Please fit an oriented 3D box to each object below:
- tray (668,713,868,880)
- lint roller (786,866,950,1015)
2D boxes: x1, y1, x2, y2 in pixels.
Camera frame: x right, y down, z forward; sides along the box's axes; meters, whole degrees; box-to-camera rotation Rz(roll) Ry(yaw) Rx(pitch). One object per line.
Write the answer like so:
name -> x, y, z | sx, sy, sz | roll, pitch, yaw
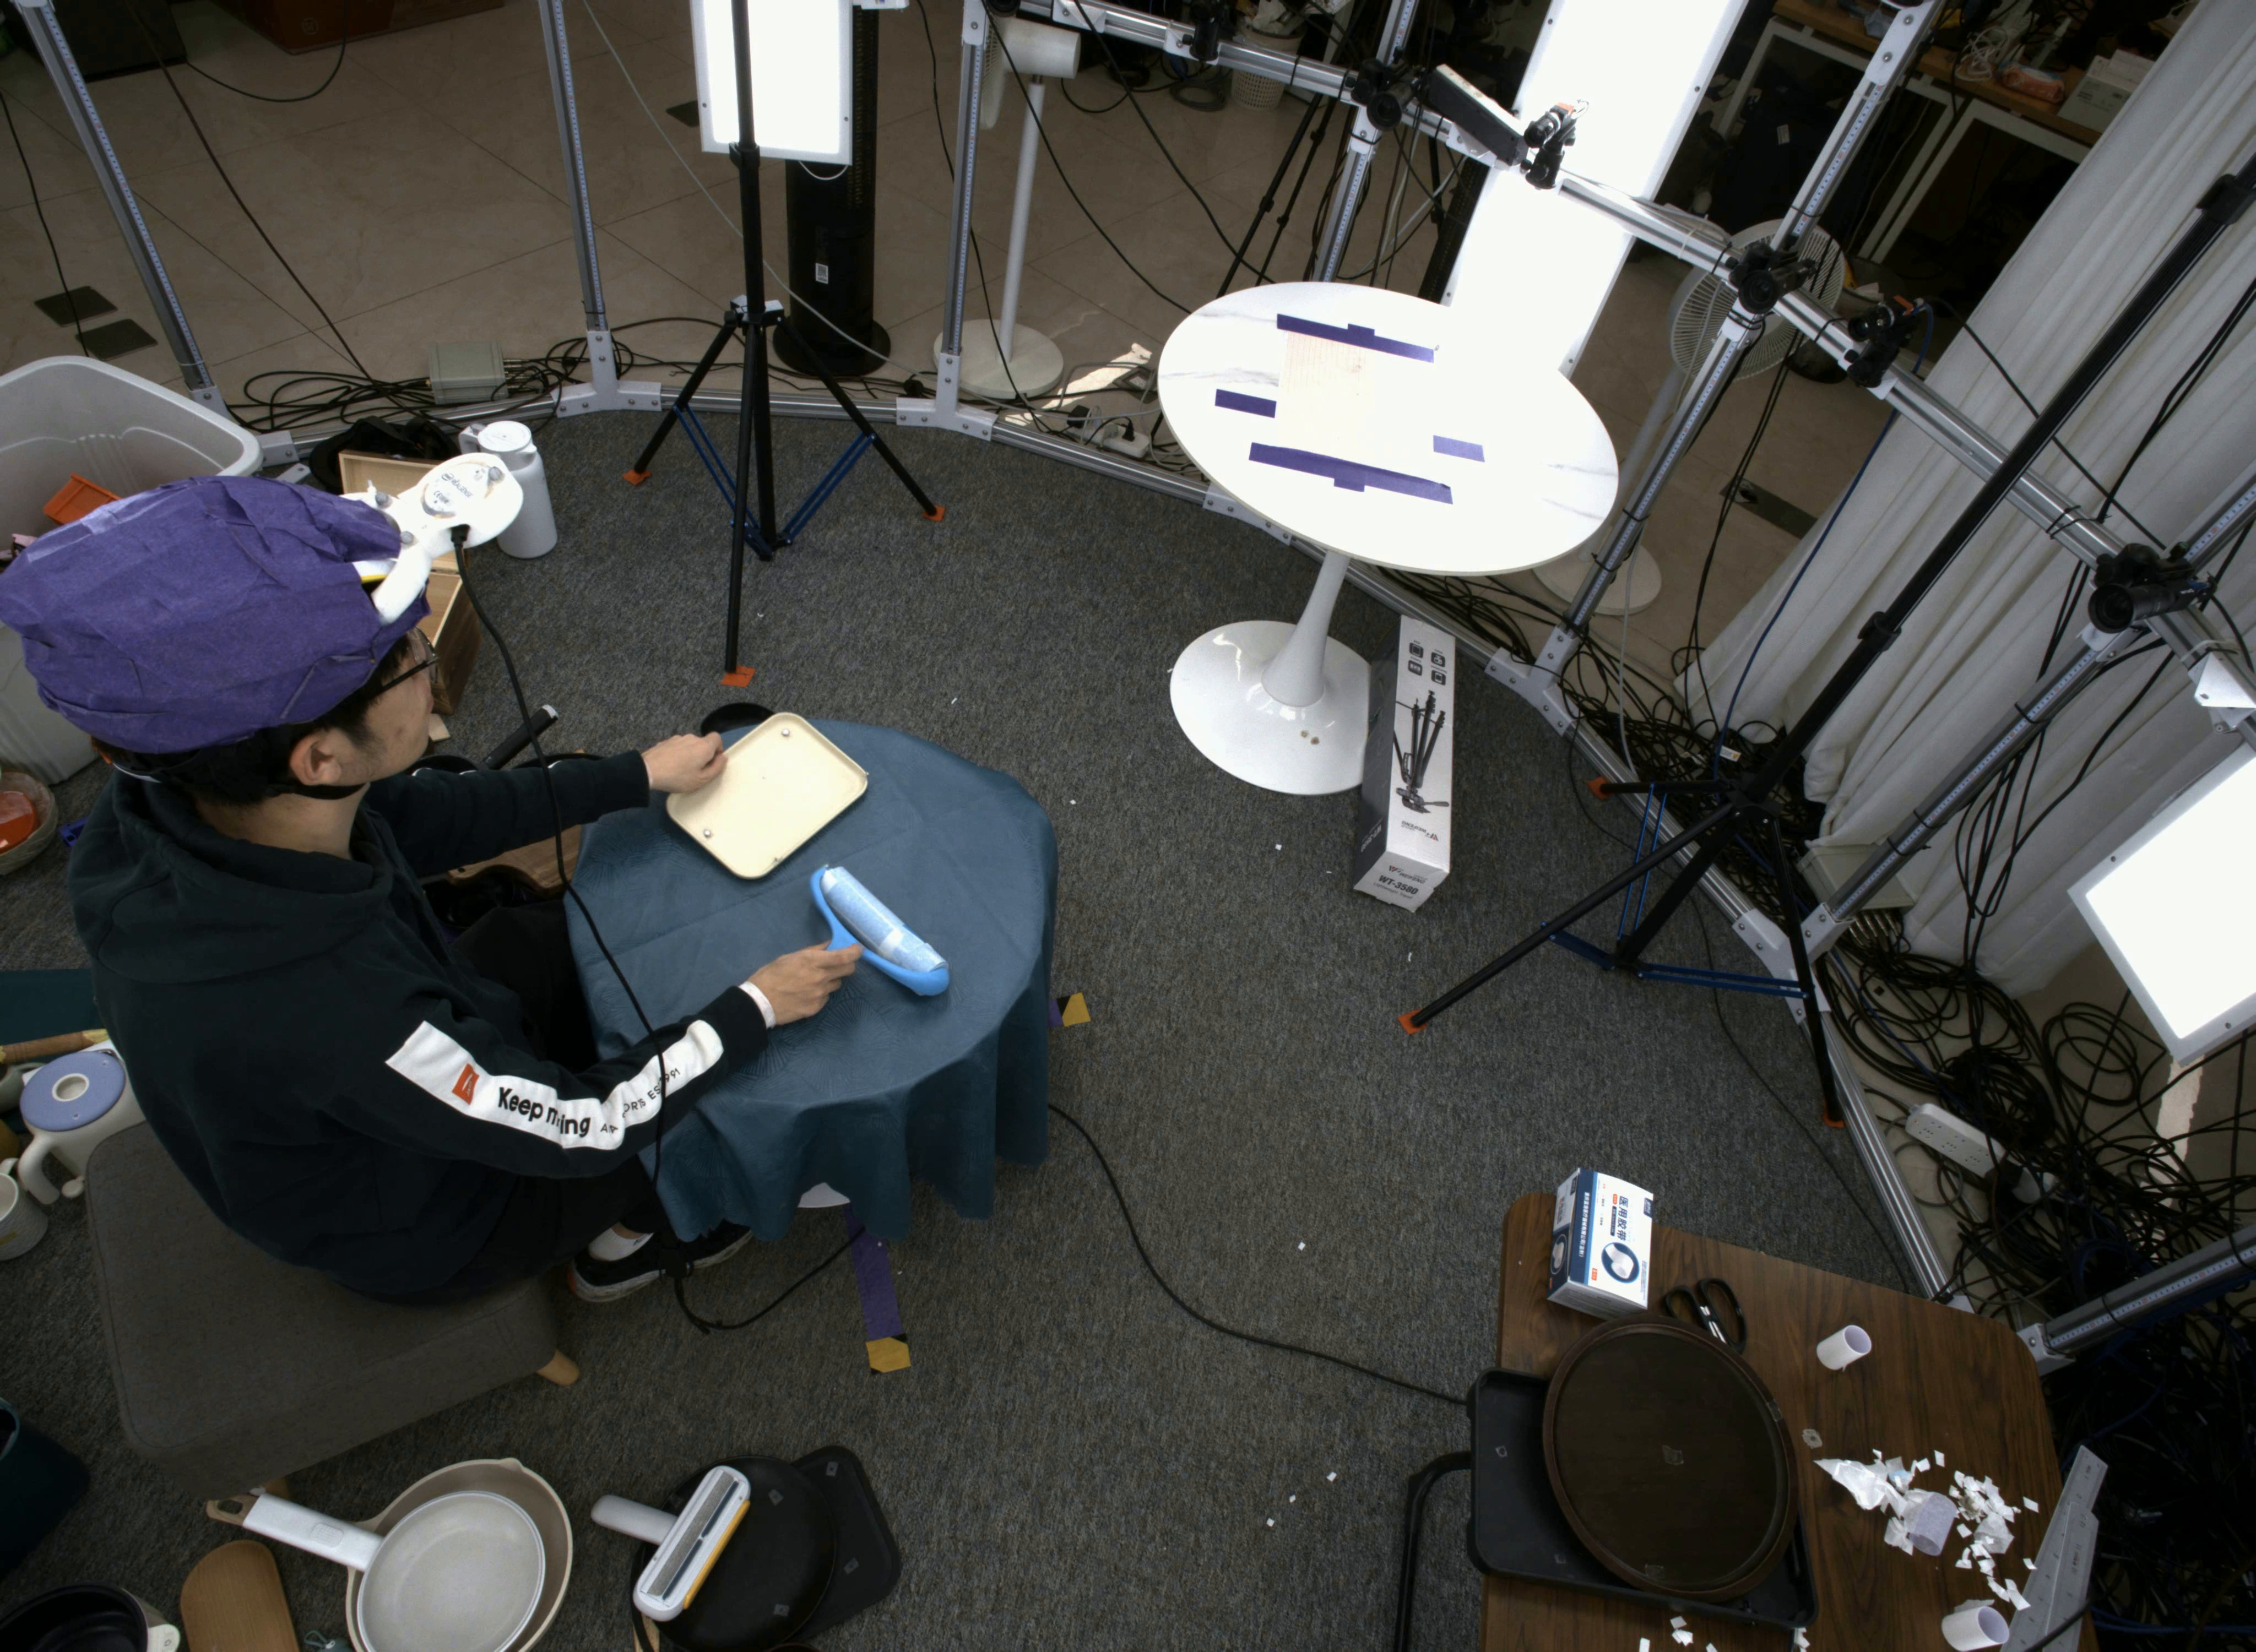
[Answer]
tray -> -0.477, -0.042, 1.724 | 0.169, 0.017, 0.239 | 39, 54, 6
lint roller -> -0.346, 0.158, 1.596 | 0.225, 0.069, 0.180 | 38, 53, 12
